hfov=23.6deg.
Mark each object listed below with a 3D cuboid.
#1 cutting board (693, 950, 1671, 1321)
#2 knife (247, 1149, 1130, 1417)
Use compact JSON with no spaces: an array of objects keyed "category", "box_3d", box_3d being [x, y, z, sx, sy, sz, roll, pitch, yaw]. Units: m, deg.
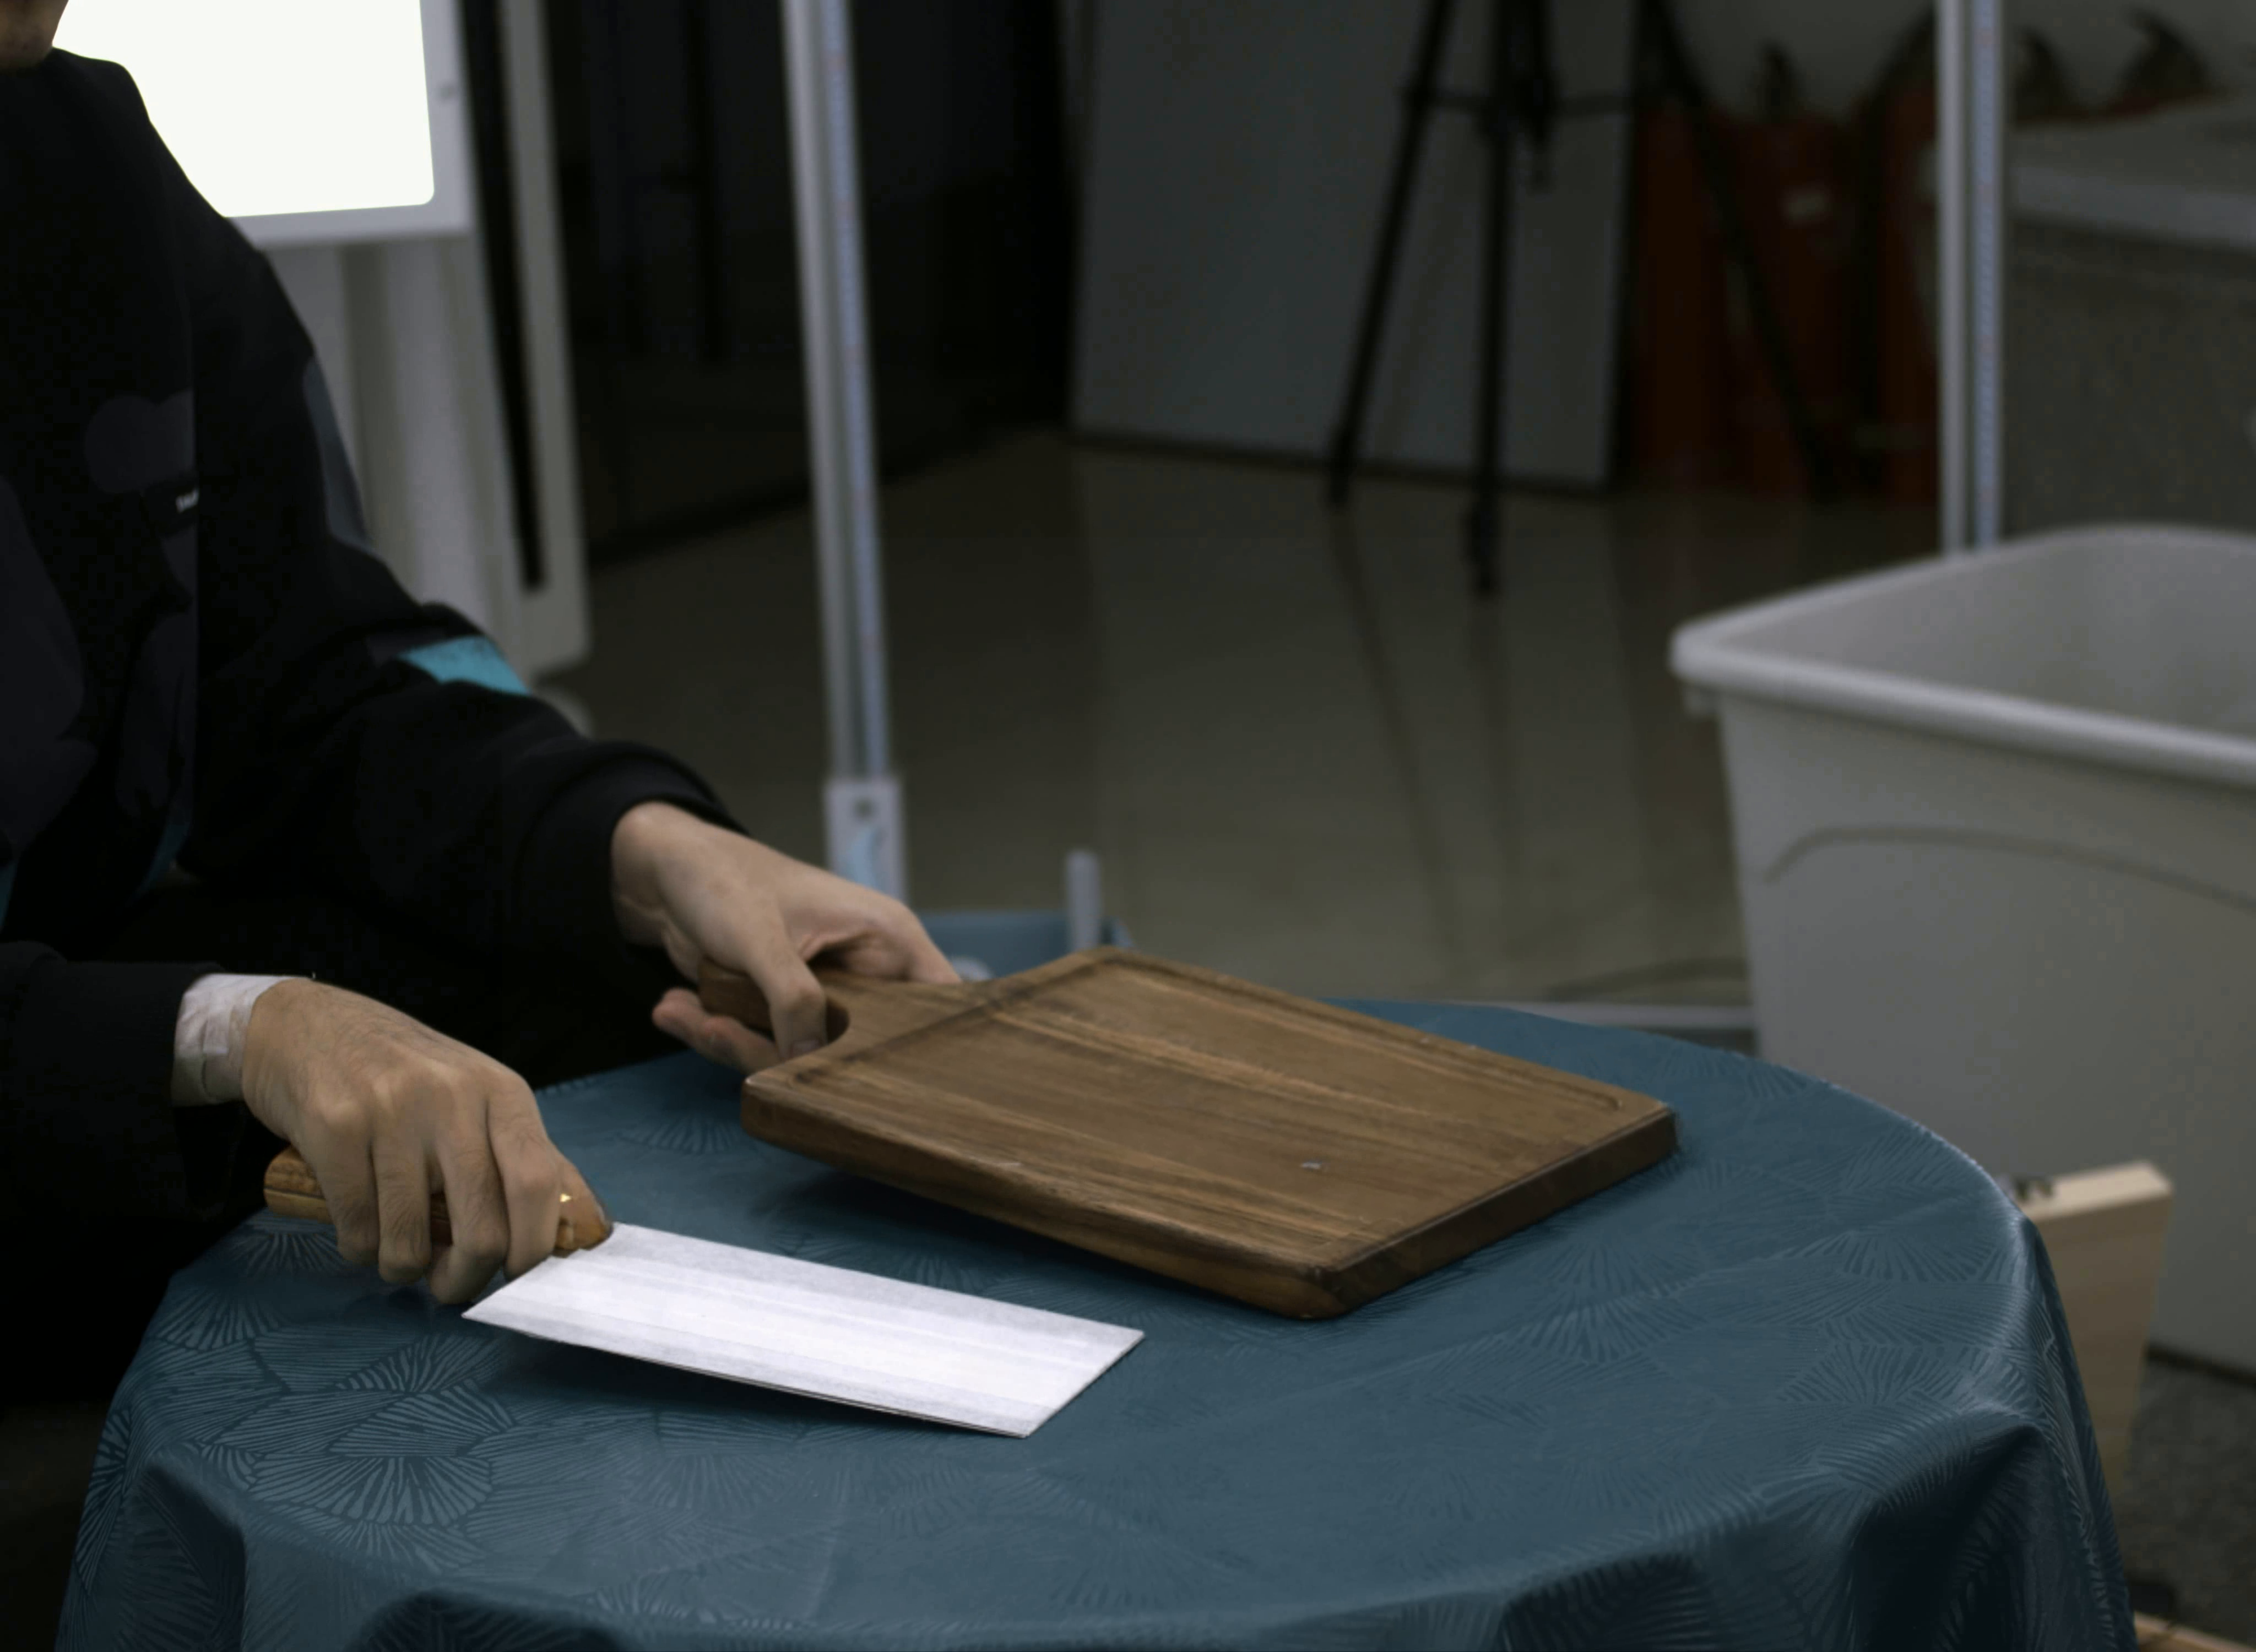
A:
[{"category":"cutting board","box_3d":[-0.012,0.088,1.805,0.355,0.023,0.197,13,22,38]},{"category":"knife","box_3d":[-0.149,0.143,1.654,0.306,0.021,0.092,9,18,24]}]
